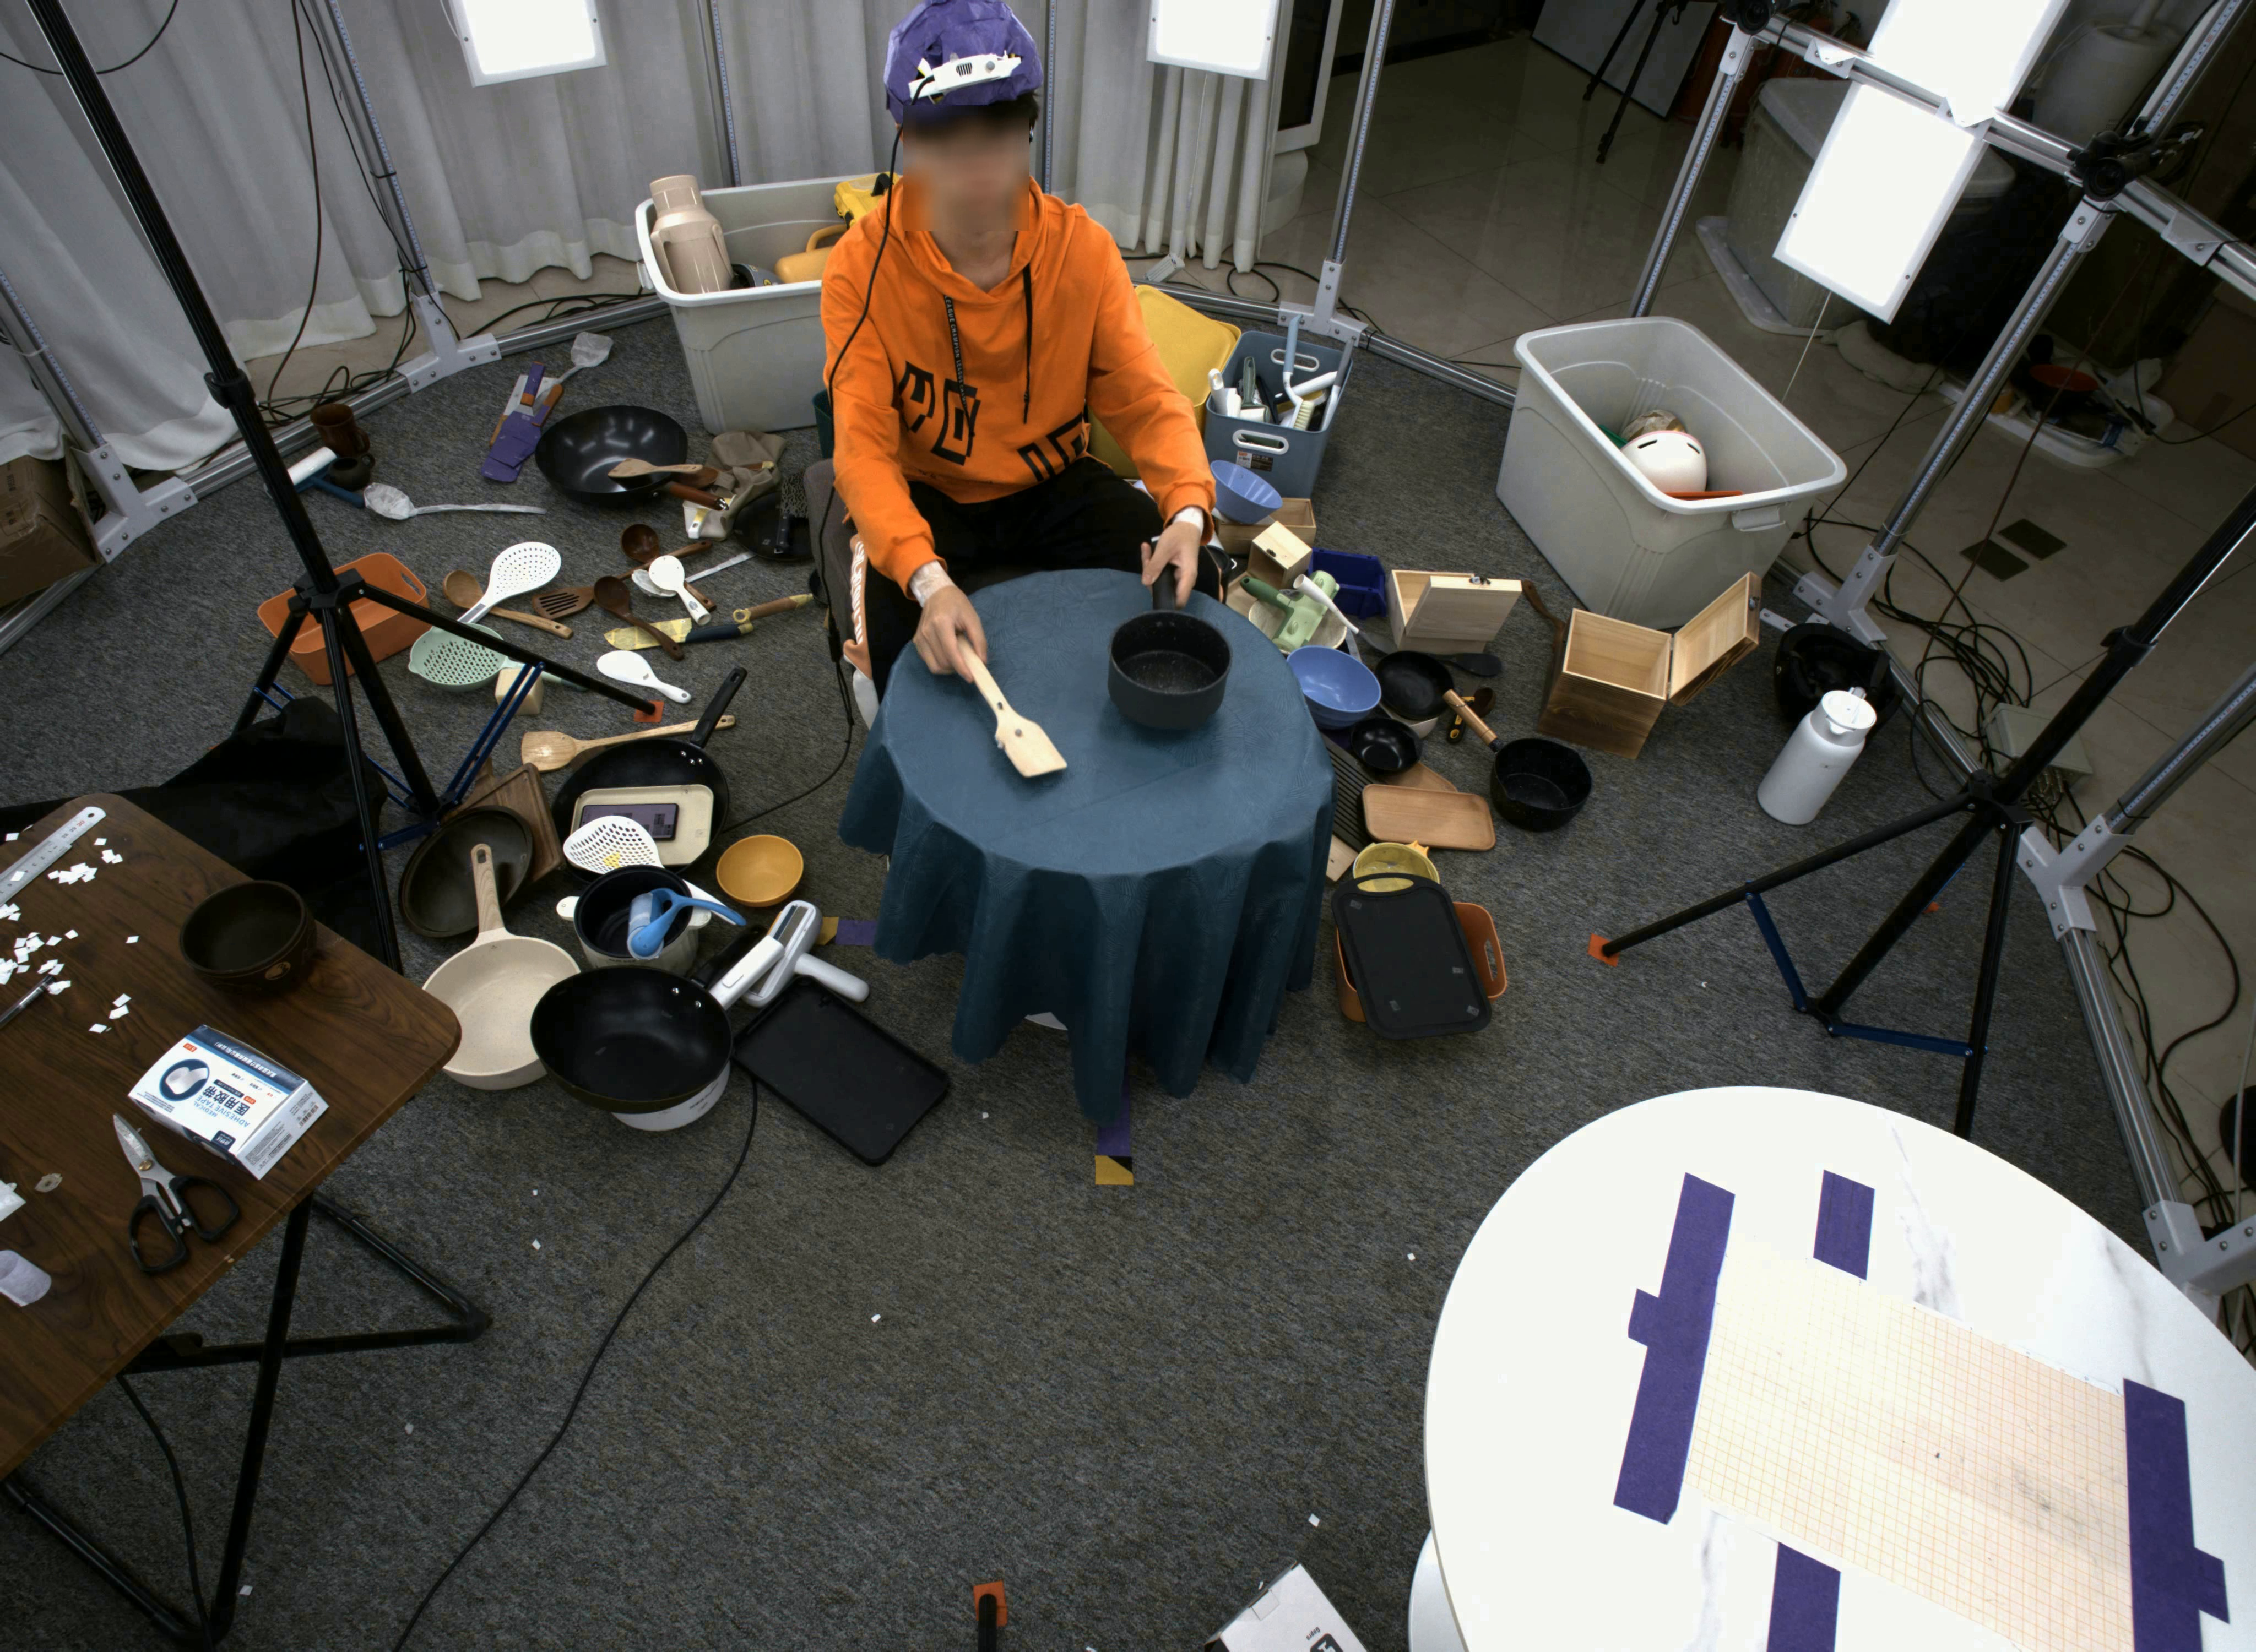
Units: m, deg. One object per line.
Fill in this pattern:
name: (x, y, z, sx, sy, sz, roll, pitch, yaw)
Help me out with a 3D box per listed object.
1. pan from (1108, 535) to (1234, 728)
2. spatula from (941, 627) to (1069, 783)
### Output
pan: (0.056, -0.279, 1.822, 0.172, 0.084, 0.337, 3, 49, -3)
spatula: (-0.182, -0.172, 1.766, 0.072, 0.010, 0.298, -17, 59, -32)
